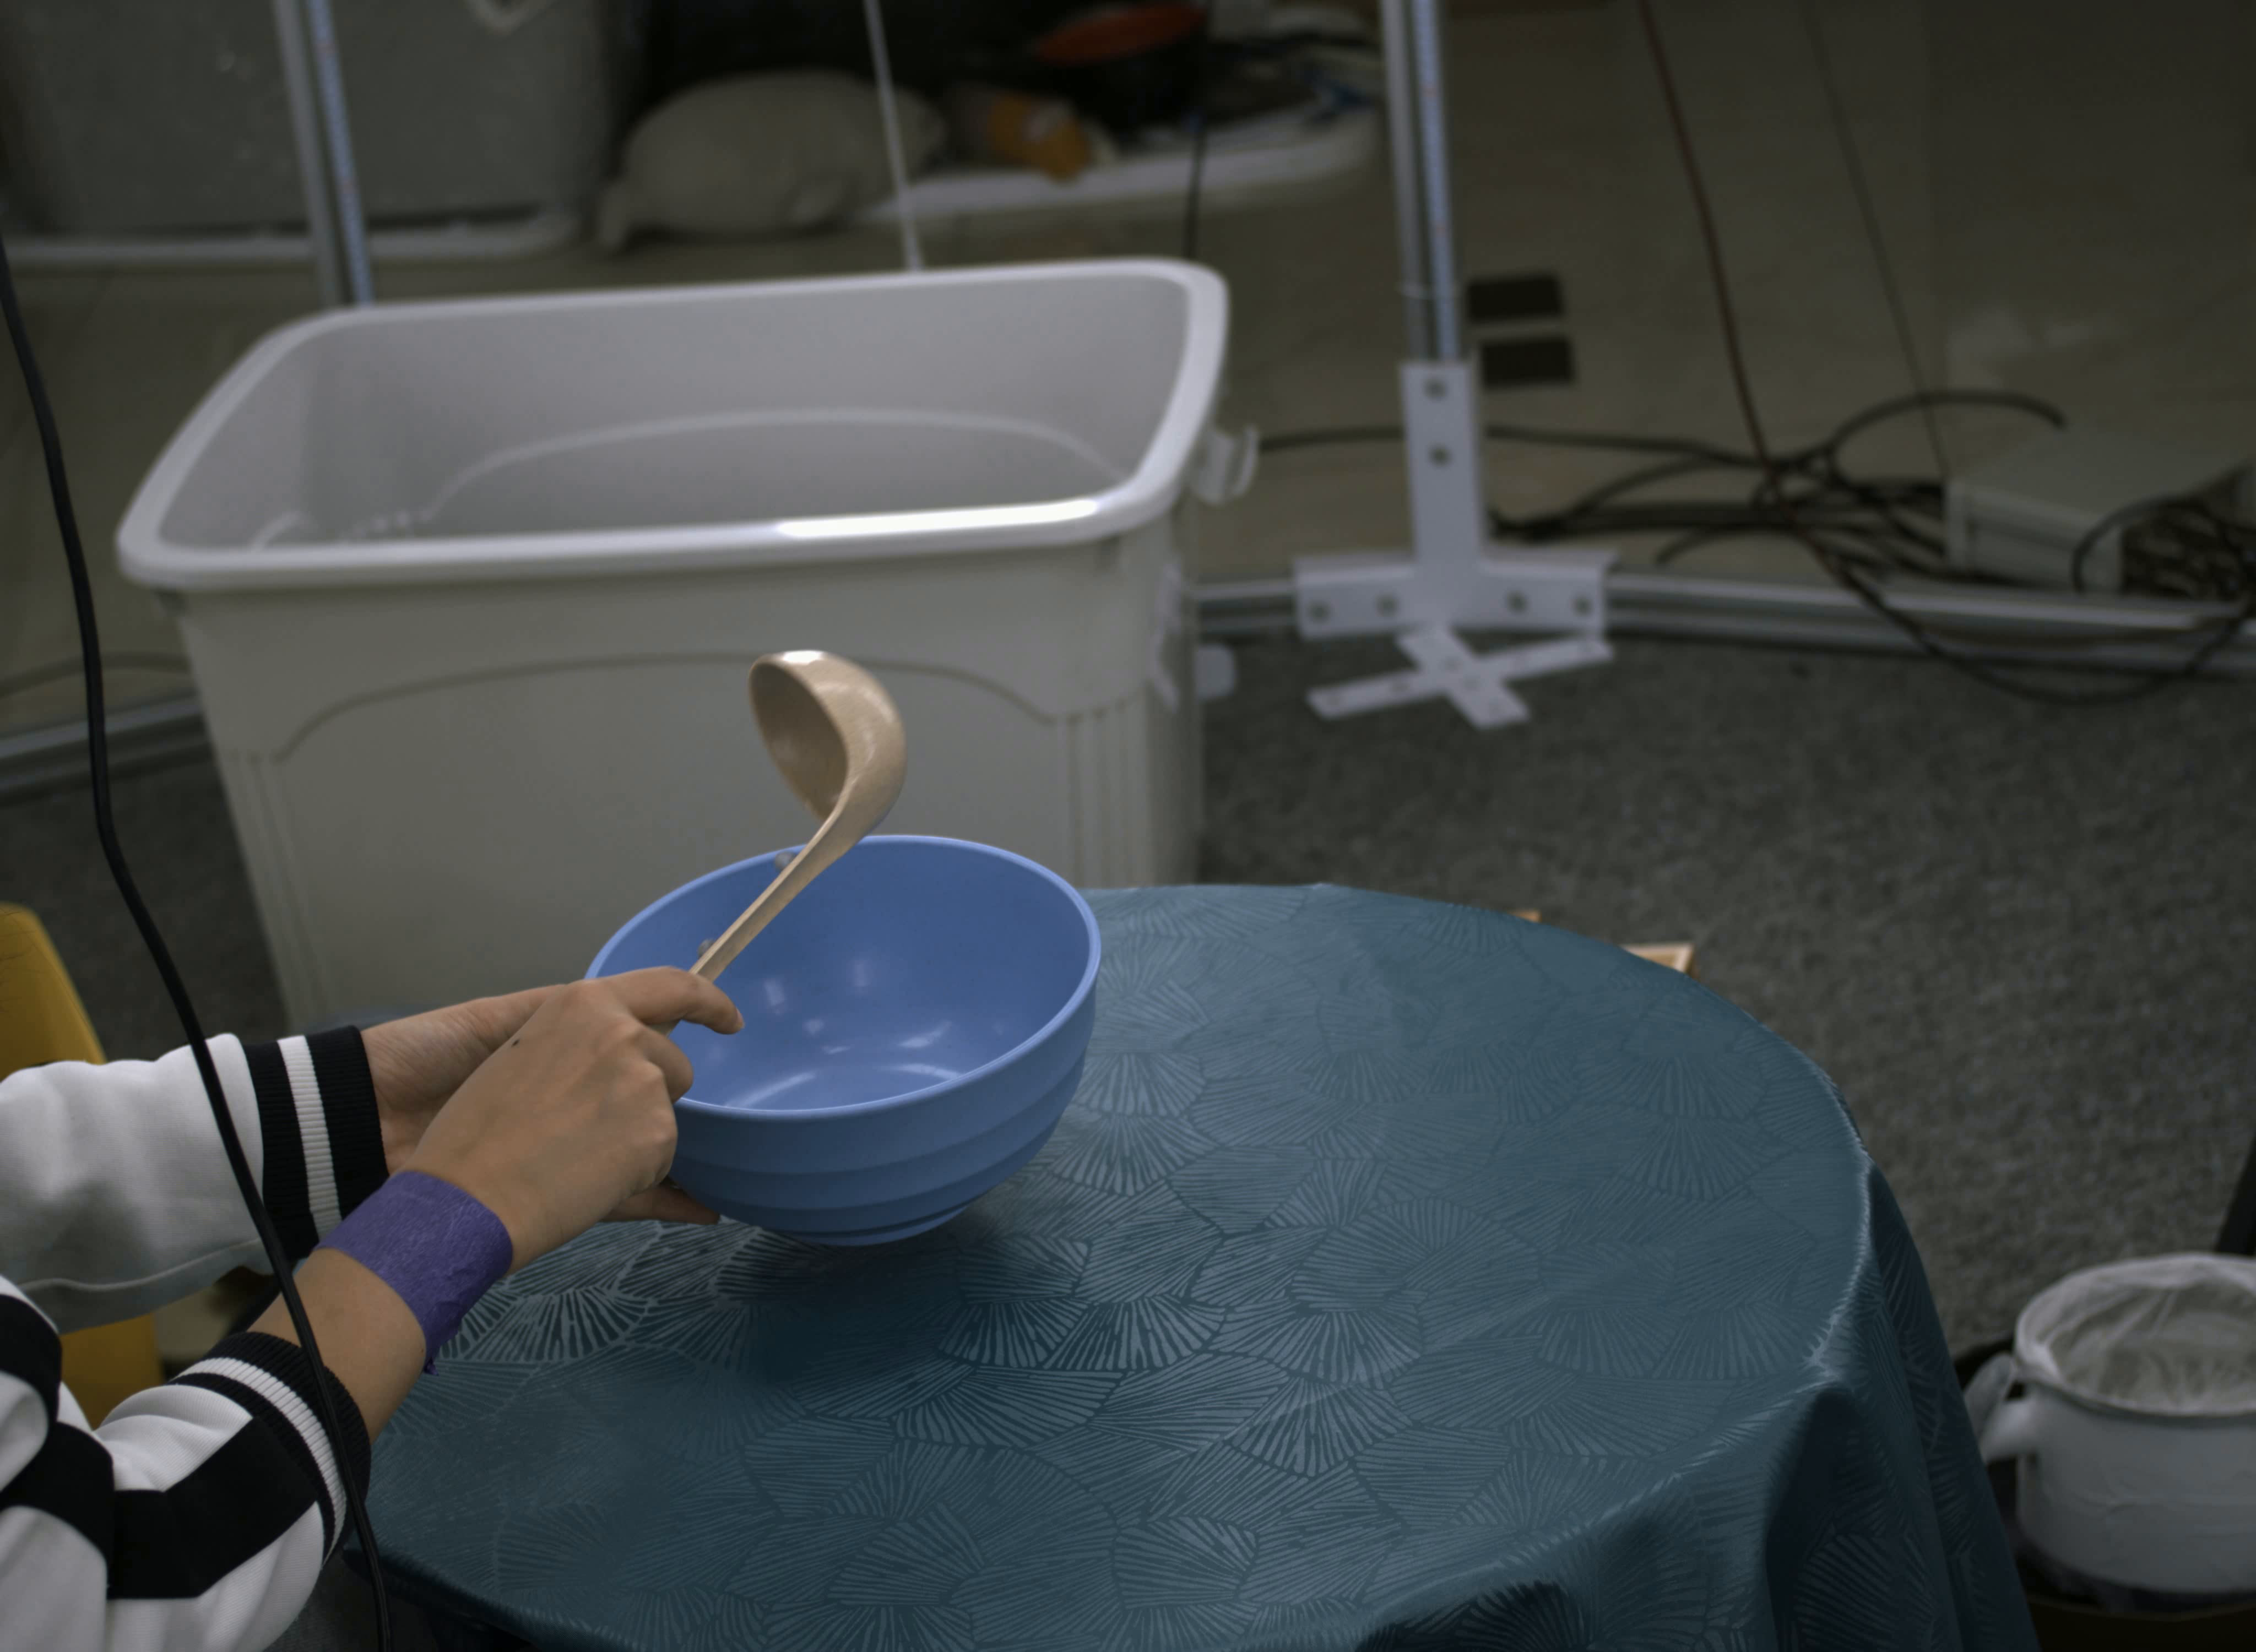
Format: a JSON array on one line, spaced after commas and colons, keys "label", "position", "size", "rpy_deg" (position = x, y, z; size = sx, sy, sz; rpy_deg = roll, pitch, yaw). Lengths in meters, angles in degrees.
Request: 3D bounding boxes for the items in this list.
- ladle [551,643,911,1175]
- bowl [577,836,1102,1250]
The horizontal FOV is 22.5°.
[{"label": "ladle", "position": [-0.159, 0.027, 1.967], "size": [0.072, 0.073, 0.251], "rpy_deg": [20, 47, 22]}, {"label": "bowl", "position": [-0.103, 0.095, 2.128], "size": [0.196, 0.097, 0.193], "rpy_deg": [-5, 32, 3]}]
